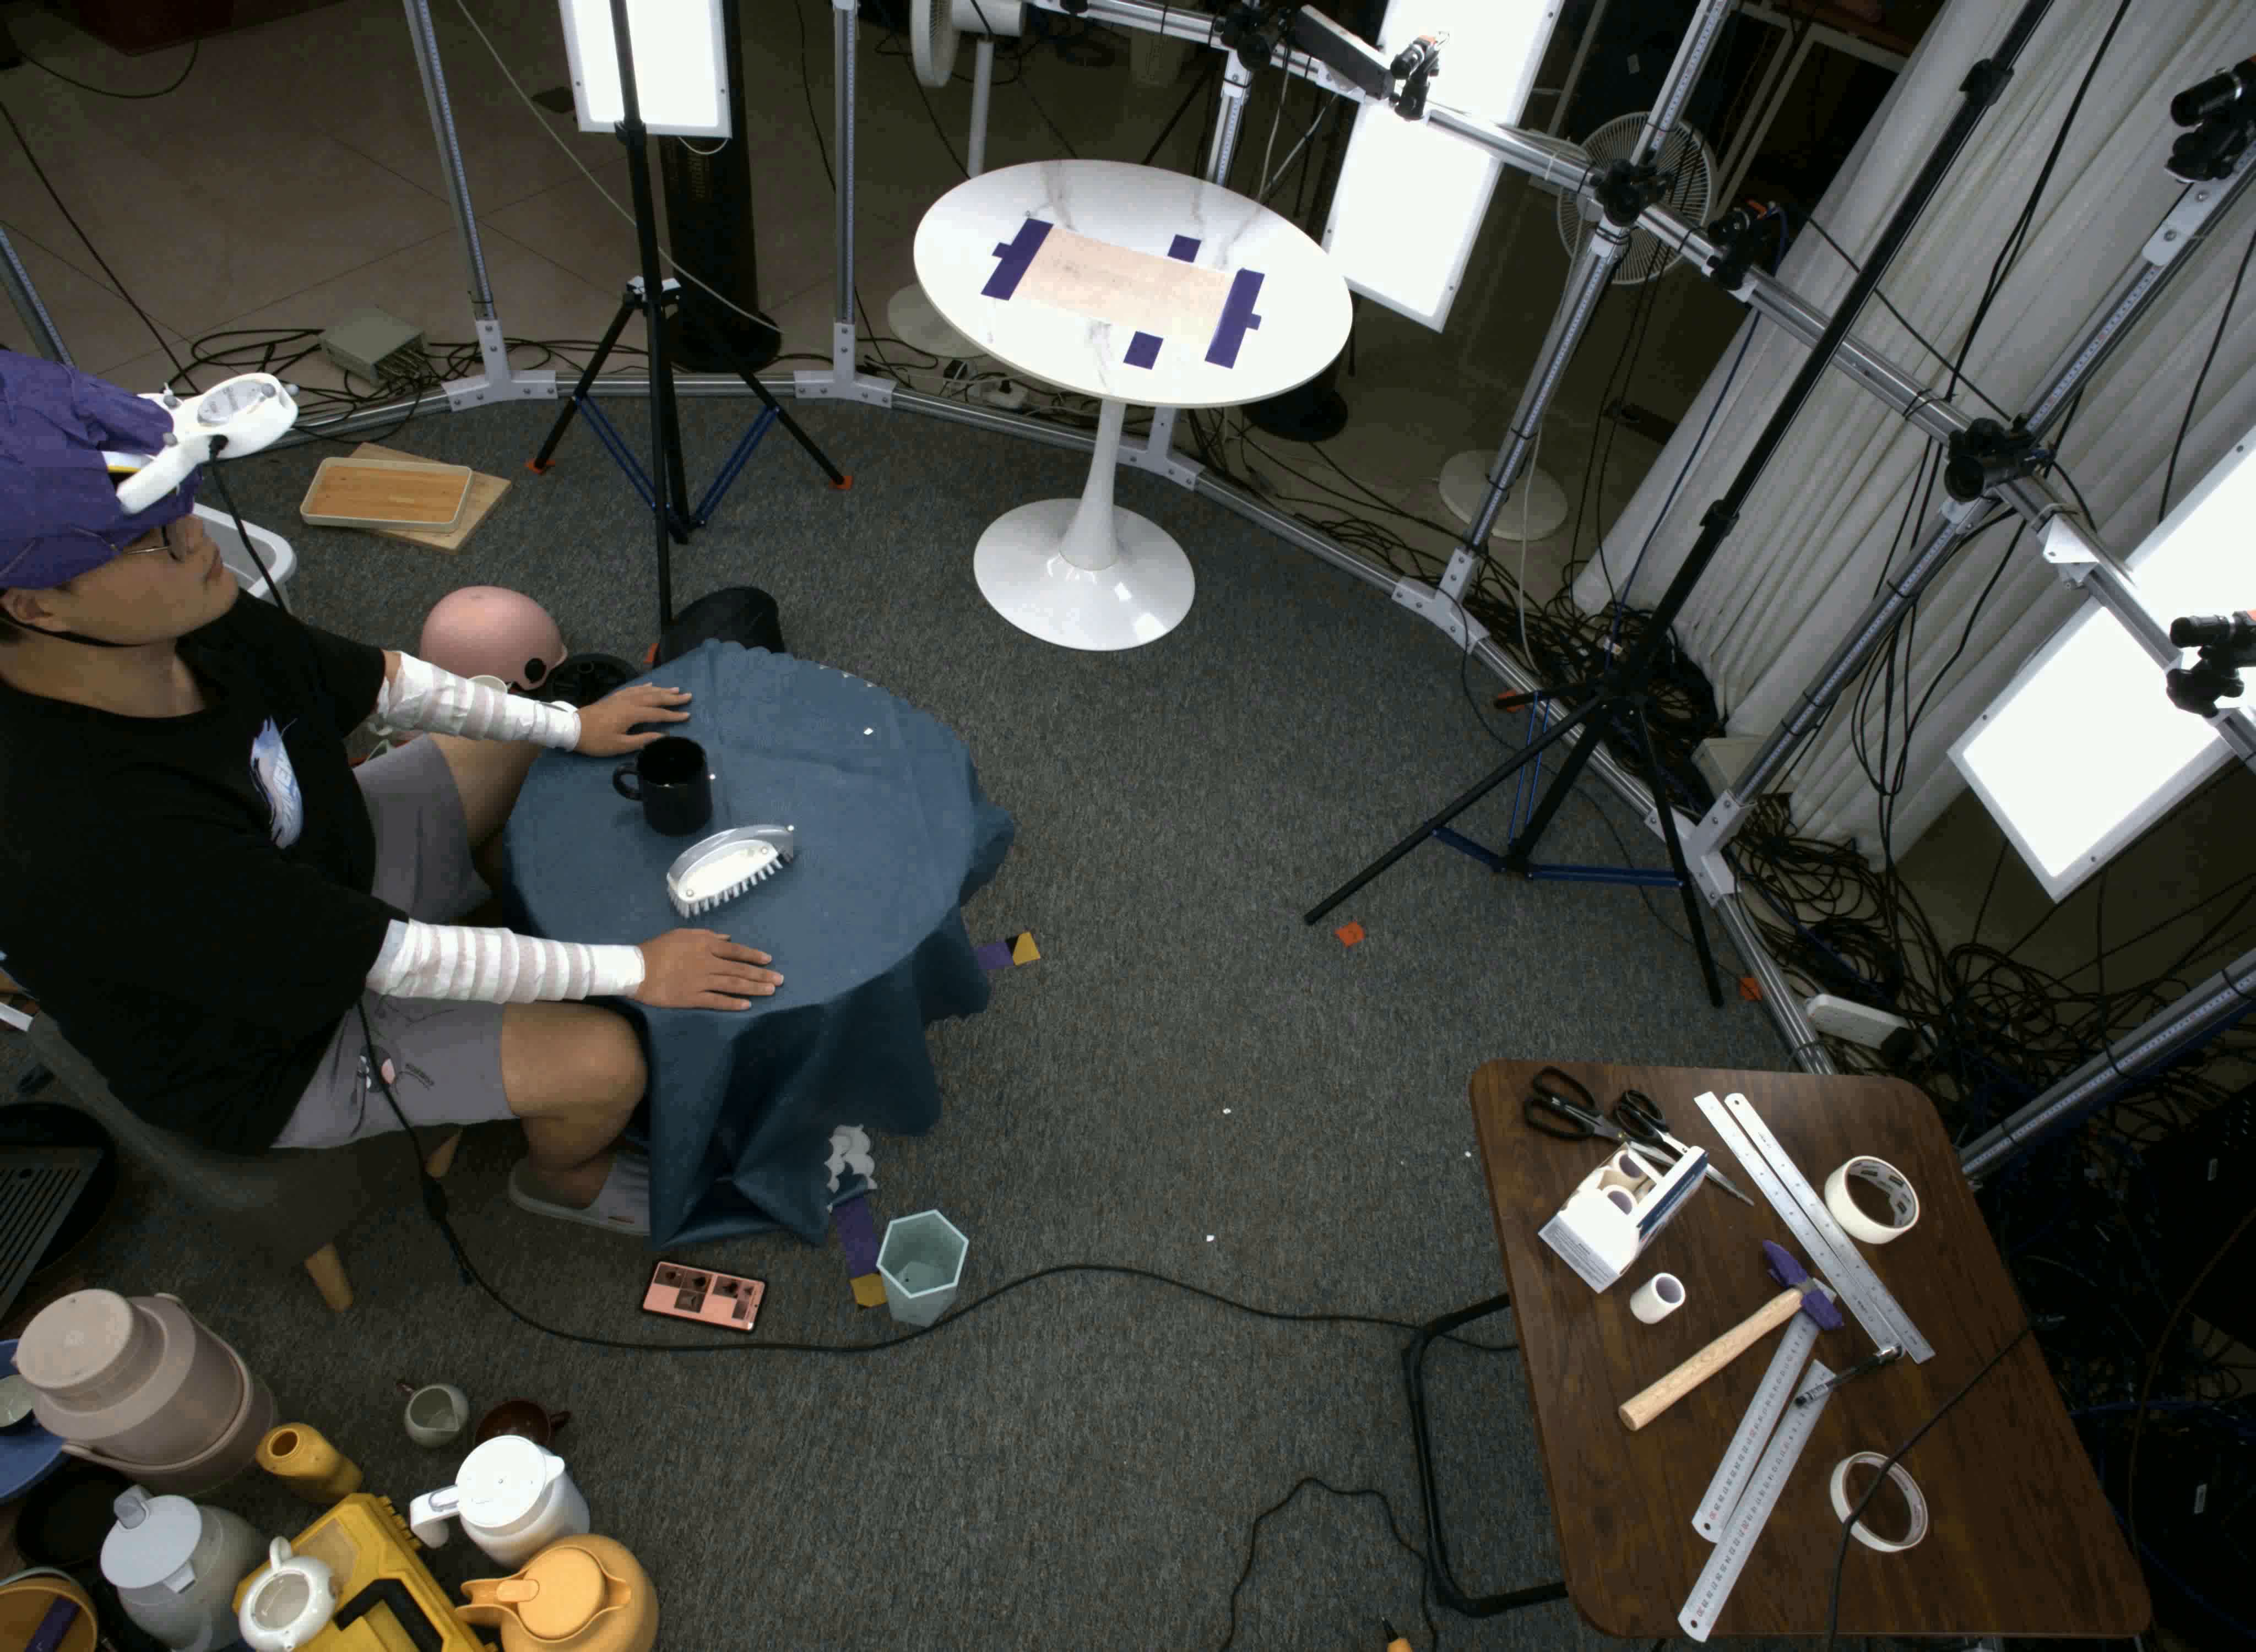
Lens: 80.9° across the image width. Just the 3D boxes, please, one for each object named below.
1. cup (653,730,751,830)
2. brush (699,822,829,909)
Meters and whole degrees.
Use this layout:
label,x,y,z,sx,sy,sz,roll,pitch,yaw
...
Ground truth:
label,x,y,z,sx,sy,sz,roll,pitch,yaw
cup,-0.560,-0.063,1.683,0.123,0.107,0.087,8,56,-5
brush,-0.458,0.030,1.645,0.176,0.096,0.060,-24,62,-30
